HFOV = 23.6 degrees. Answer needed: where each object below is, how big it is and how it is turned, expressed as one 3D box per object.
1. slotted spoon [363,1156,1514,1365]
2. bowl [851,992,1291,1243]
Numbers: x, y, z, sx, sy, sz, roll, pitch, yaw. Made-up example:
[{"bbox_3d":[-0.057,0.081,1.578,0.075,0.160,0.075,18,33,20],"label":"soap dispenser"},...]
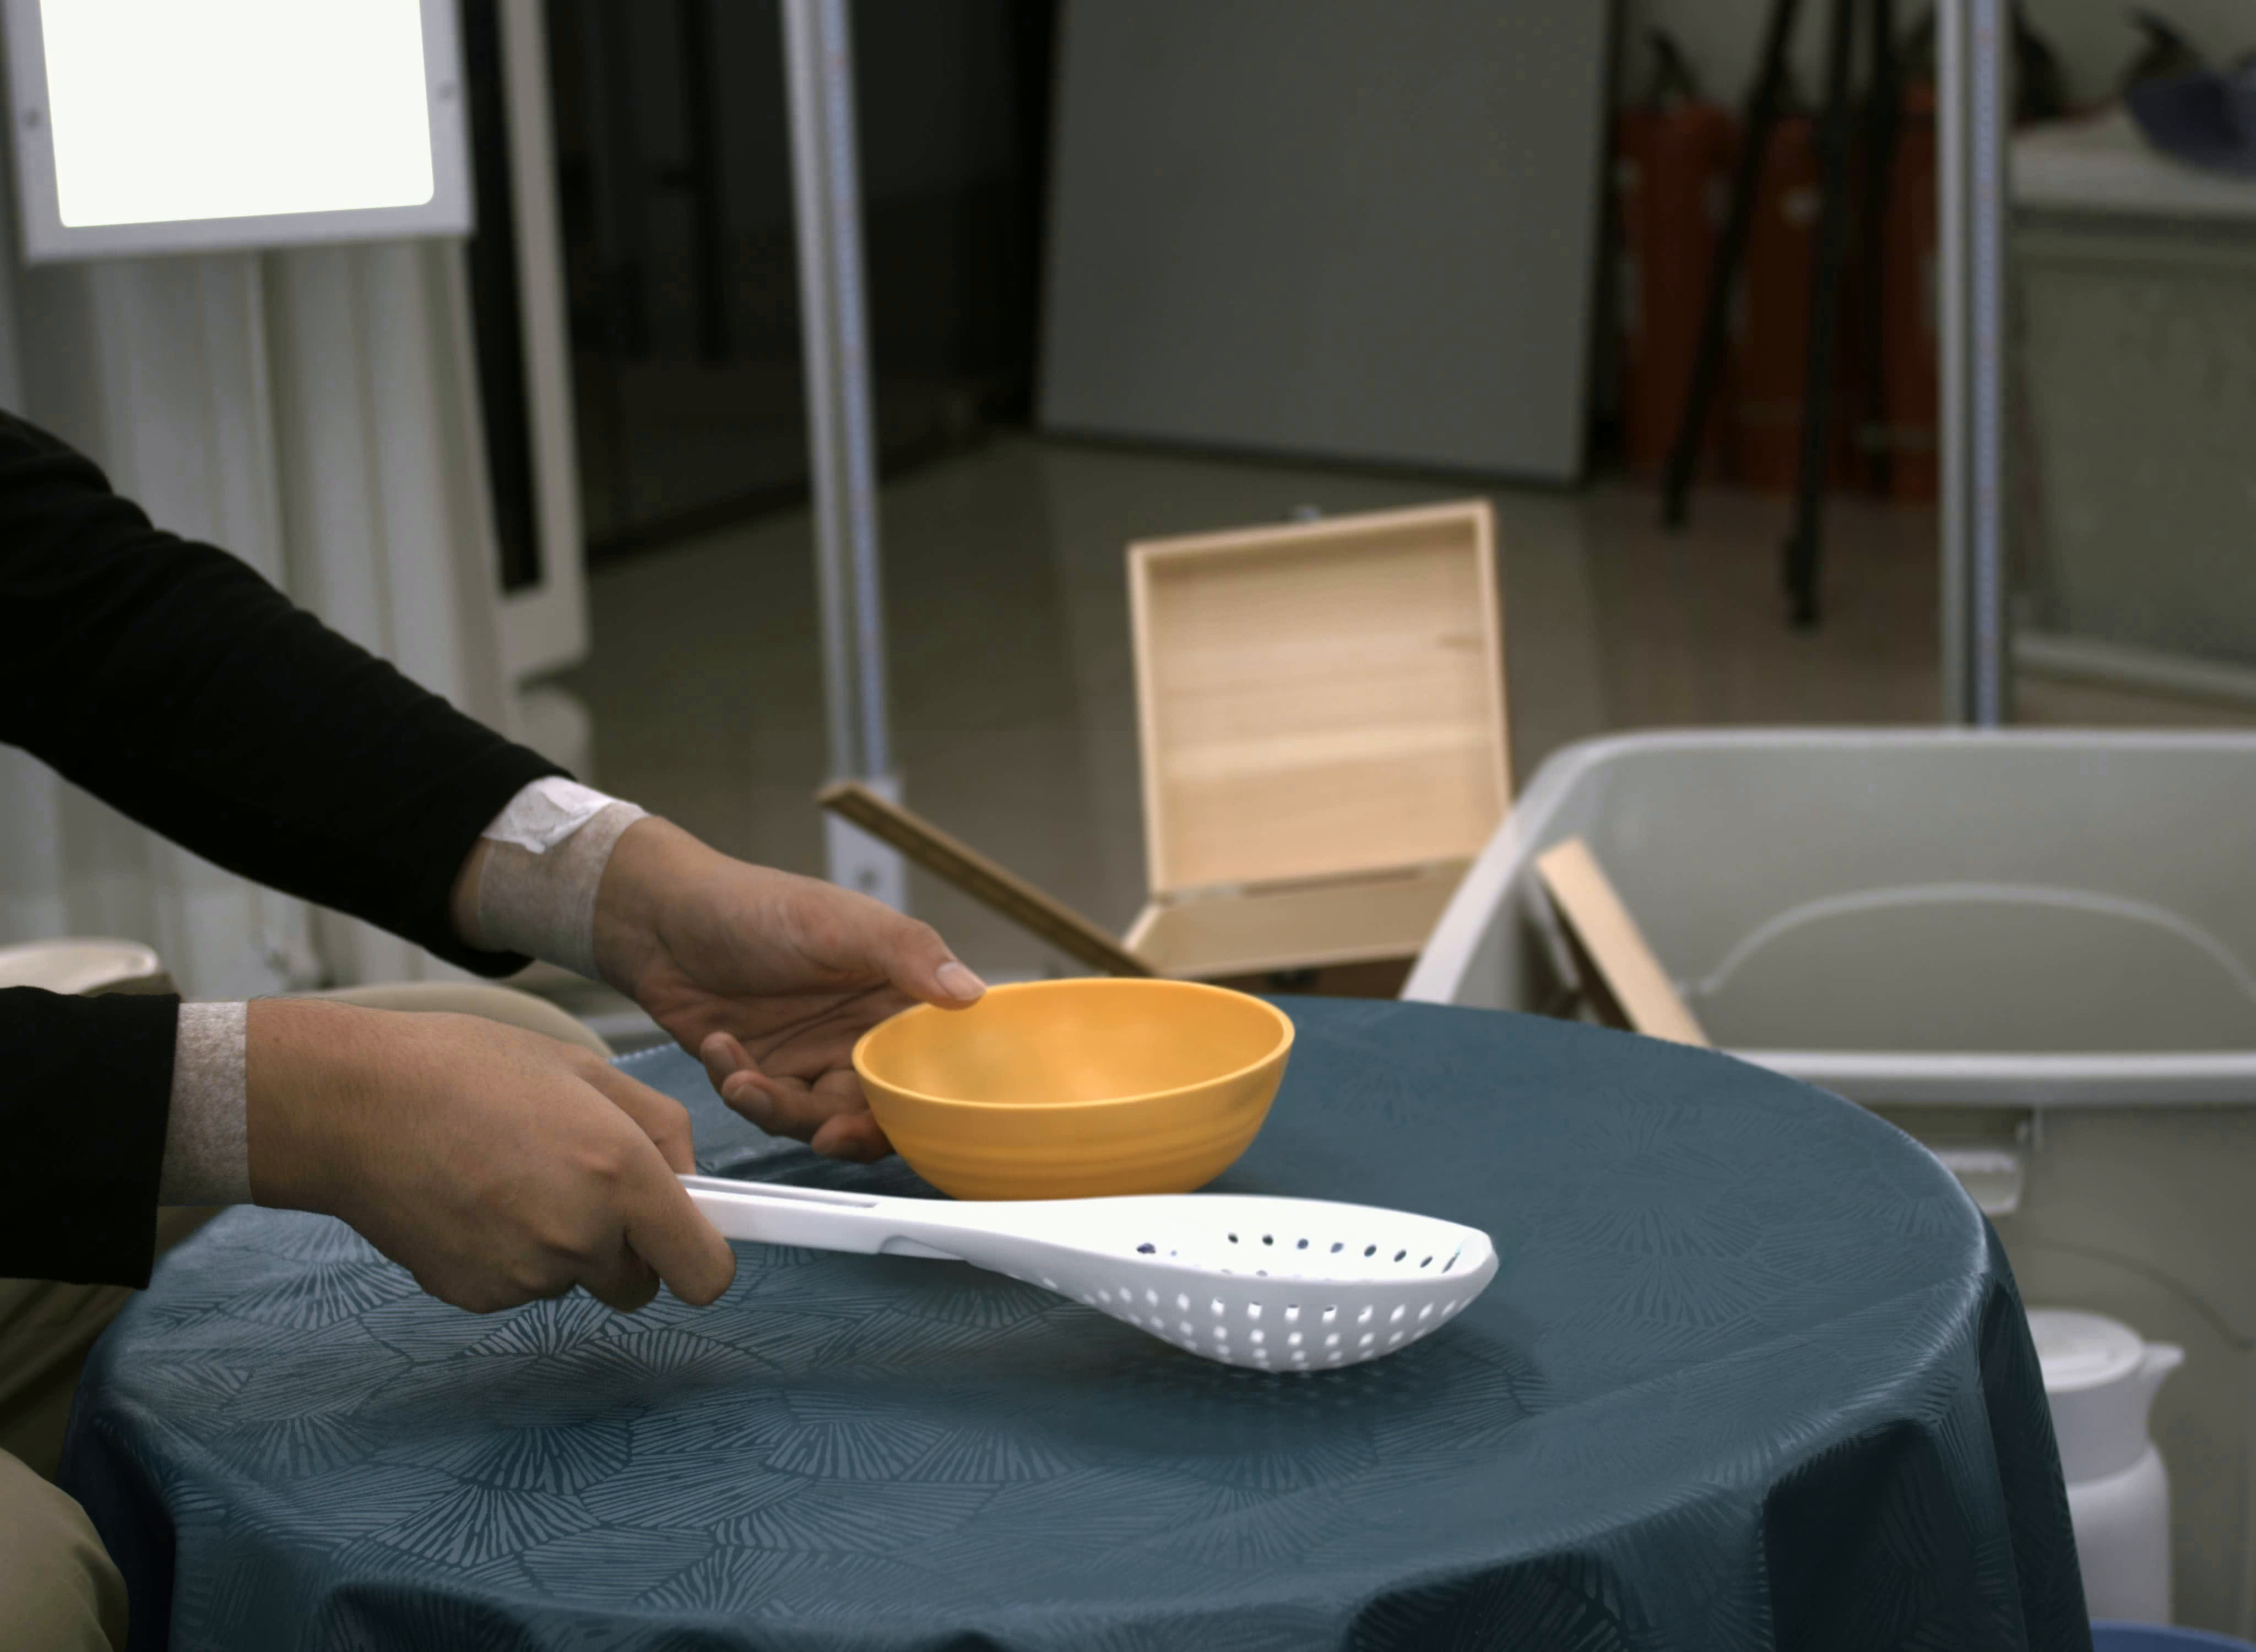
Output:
[{"bbox_3d":[-0.059,0.119,1.609,0.347,0.046,0.135,8,4,10],"label":"slotted spoon"},{"bbox_3d":[-0.017,0.099,1.748,0.143,0.061,0.145,-3,12,0],"label":"bowl"}]
